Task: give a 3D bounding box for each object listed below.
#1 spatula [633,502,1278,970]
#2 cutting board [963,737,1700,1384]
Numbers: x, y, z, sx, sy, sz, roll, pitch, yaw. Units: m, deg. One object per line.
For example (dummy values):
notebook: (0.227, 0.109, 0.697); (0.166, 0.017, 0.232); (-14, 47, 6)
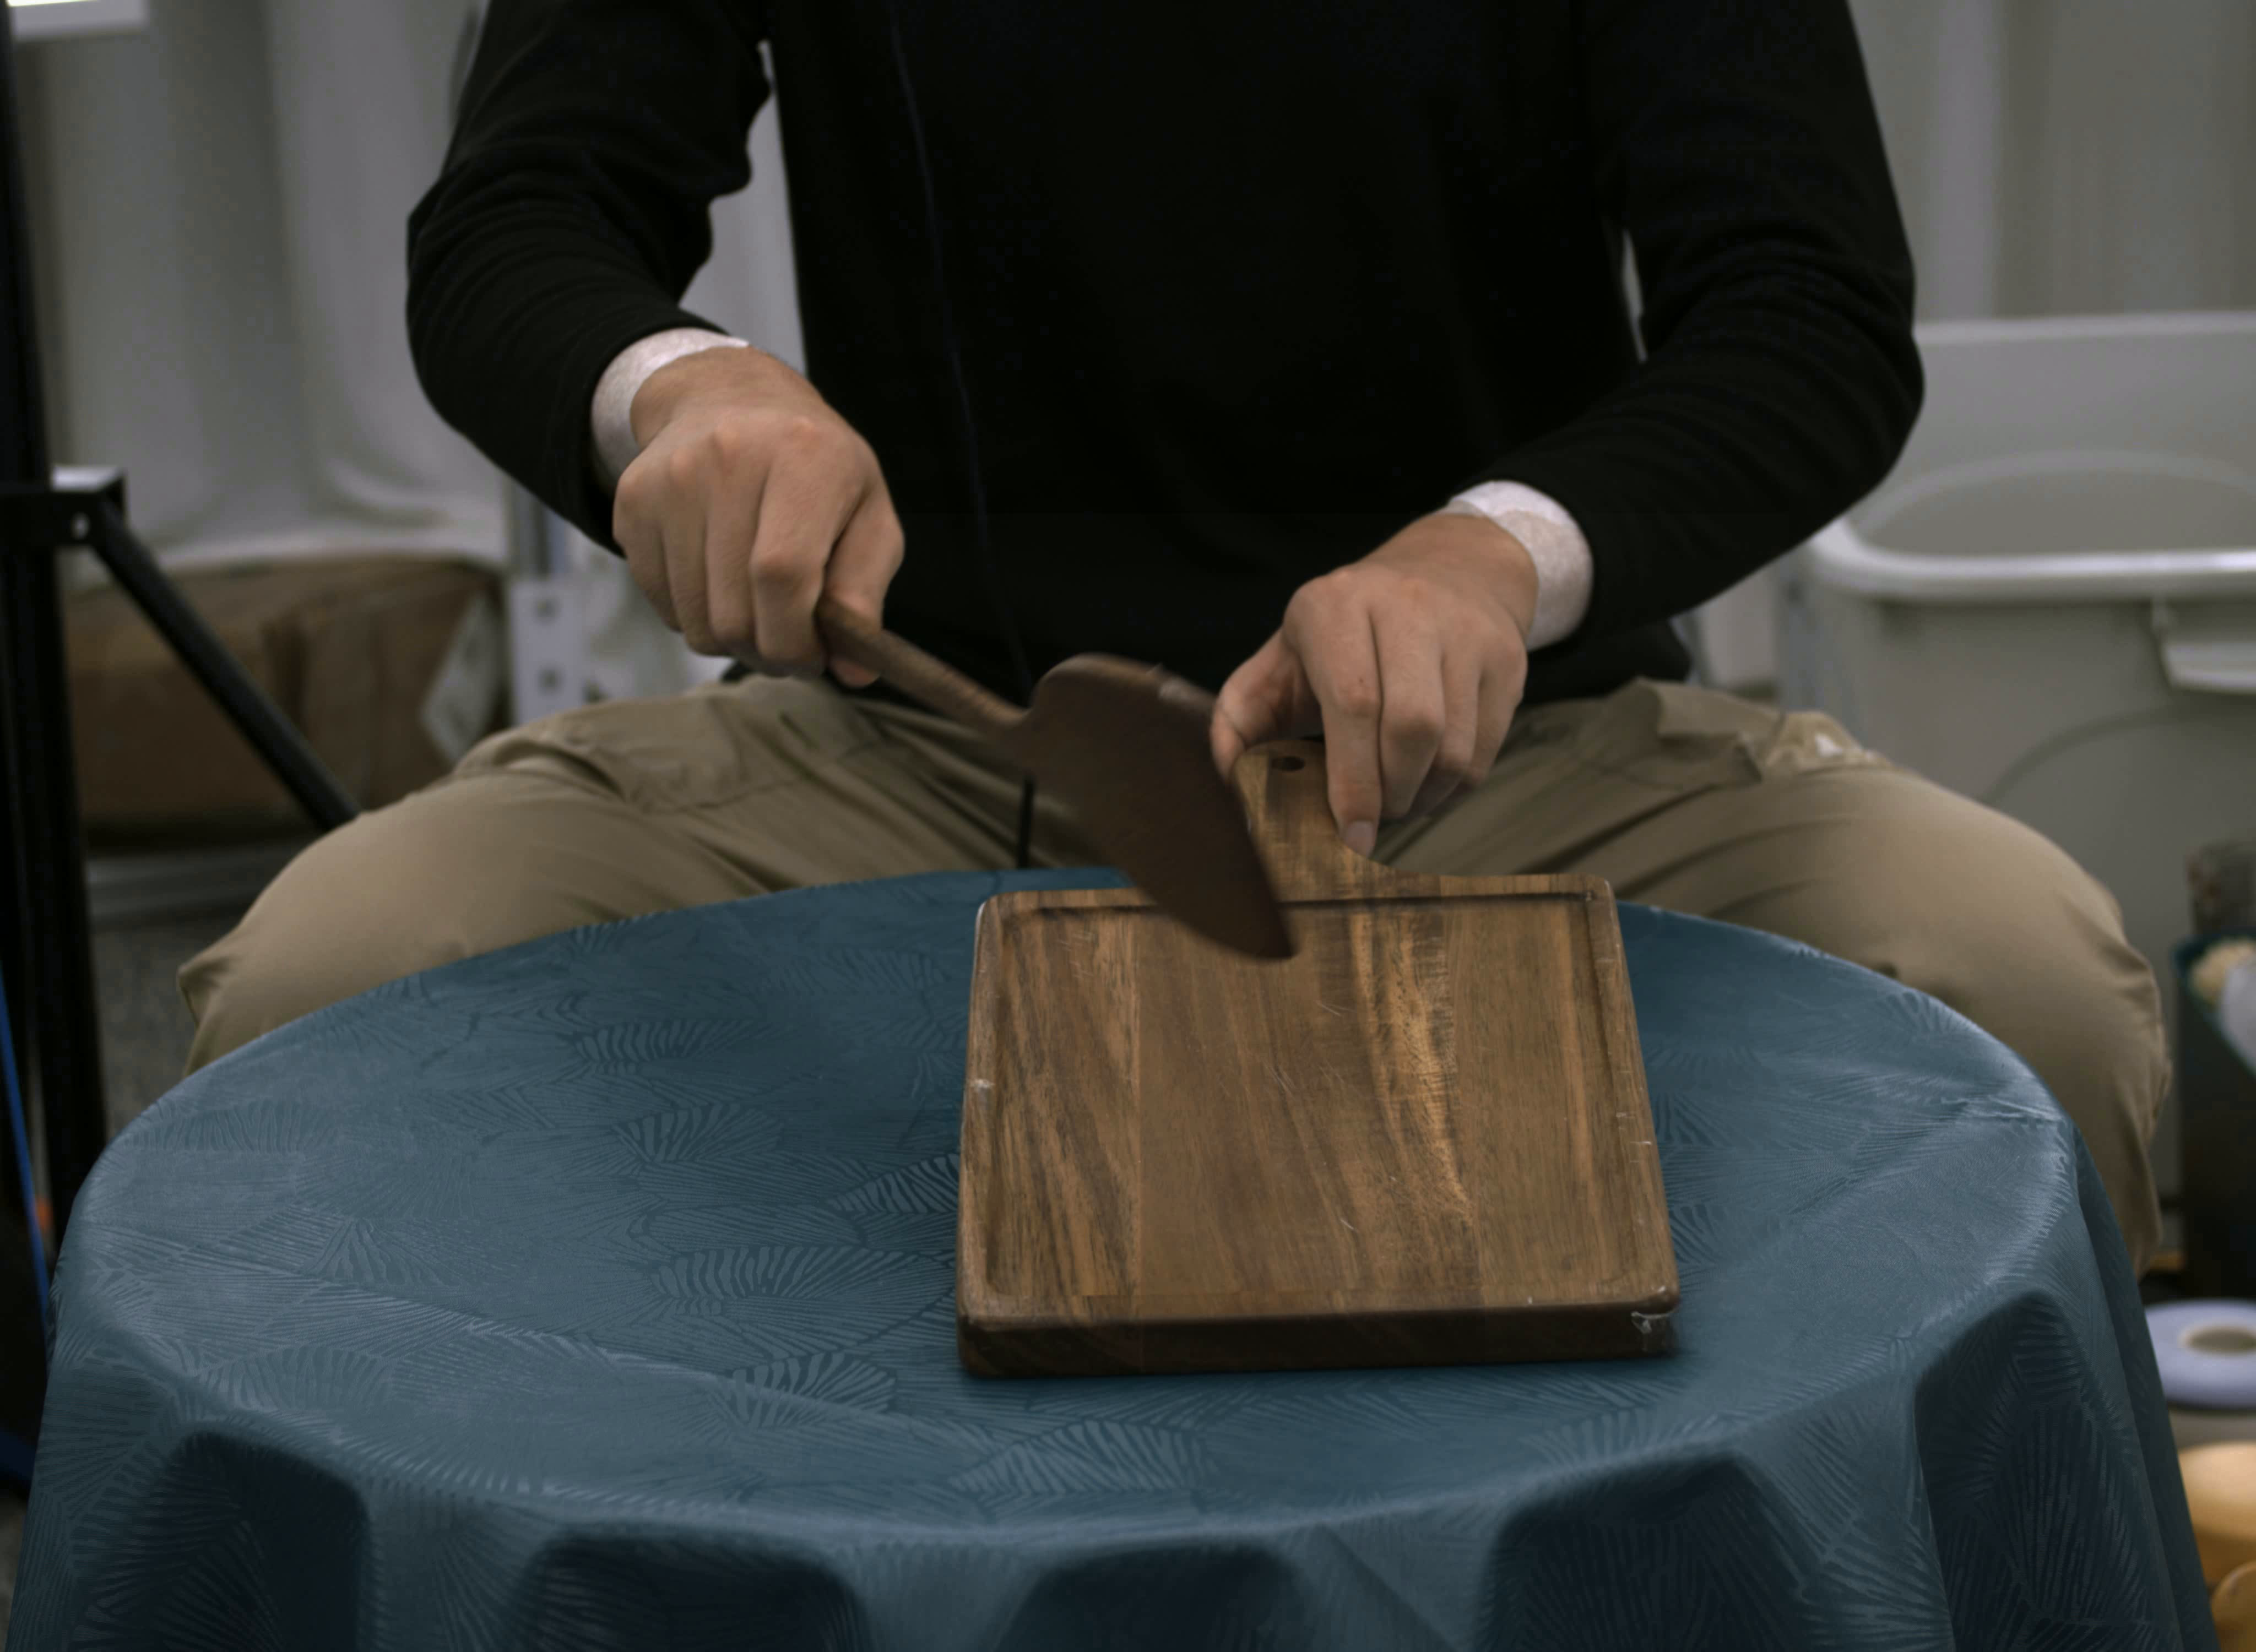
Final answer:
spatula: (-0.063, -0.044, 1.565); (0.015, 0.095, 0.394); (-31, 28, -17)
cutting board: (0.052, 0.059, 1.565); (0.200, 0.023, 0.354); (-3, 27, 1)
